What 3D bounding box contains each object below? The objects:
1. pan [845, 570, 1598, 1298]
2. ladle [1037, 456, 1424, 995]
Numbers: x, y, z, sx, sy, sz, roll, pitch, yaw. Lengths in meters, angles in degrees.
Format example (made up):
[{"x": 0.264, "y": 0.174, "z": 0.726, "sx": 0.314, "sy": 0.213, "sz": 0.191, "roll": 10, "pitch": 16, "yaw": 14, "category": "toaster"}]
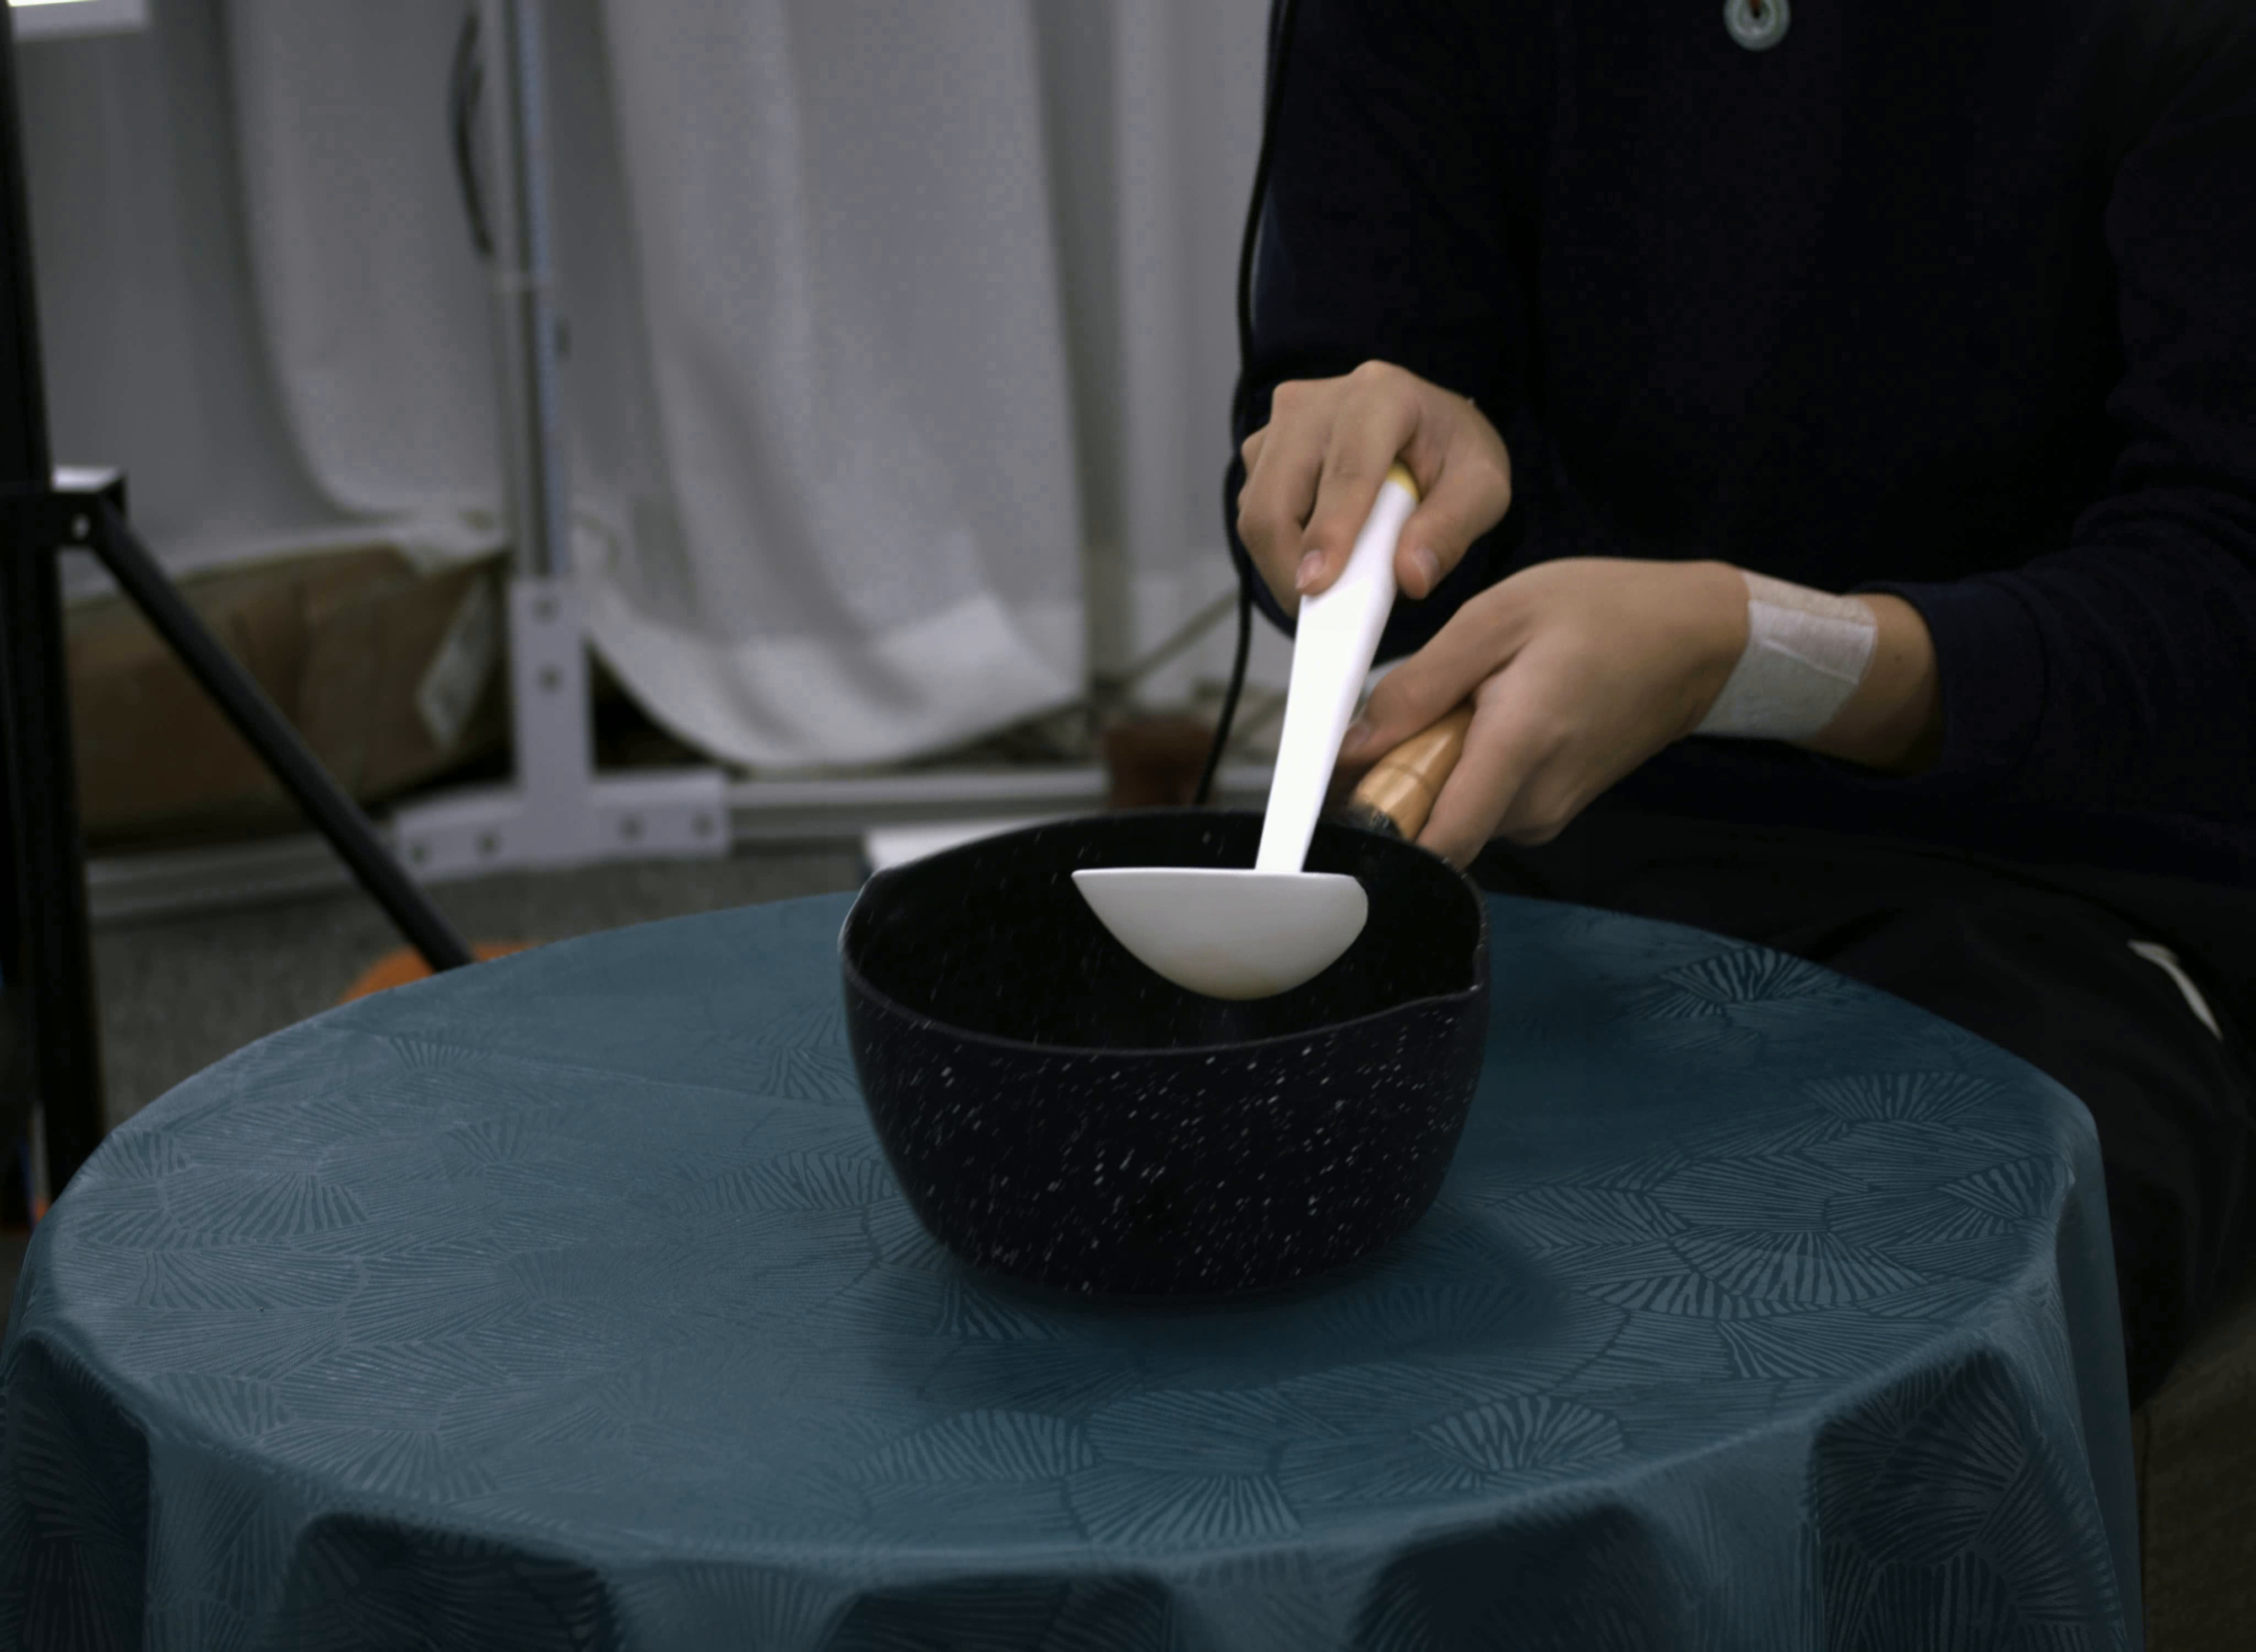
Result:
[{"x": 0.052, "y": 0.027, "z": 1.570, "sx": 0.211, "sy": 0.108, "sz": 0.337, "roll": 9, "pitch": 25, "yaw": 30, "category": "pan"}, {"x": 0.045, "y": -0.042, "z": 1.582, "sx": 0.091, "sy": 0.069, "sz": 0.293, "roll": -7, "pitch": 31, "yaw": 19, "category": "ladle"}]
